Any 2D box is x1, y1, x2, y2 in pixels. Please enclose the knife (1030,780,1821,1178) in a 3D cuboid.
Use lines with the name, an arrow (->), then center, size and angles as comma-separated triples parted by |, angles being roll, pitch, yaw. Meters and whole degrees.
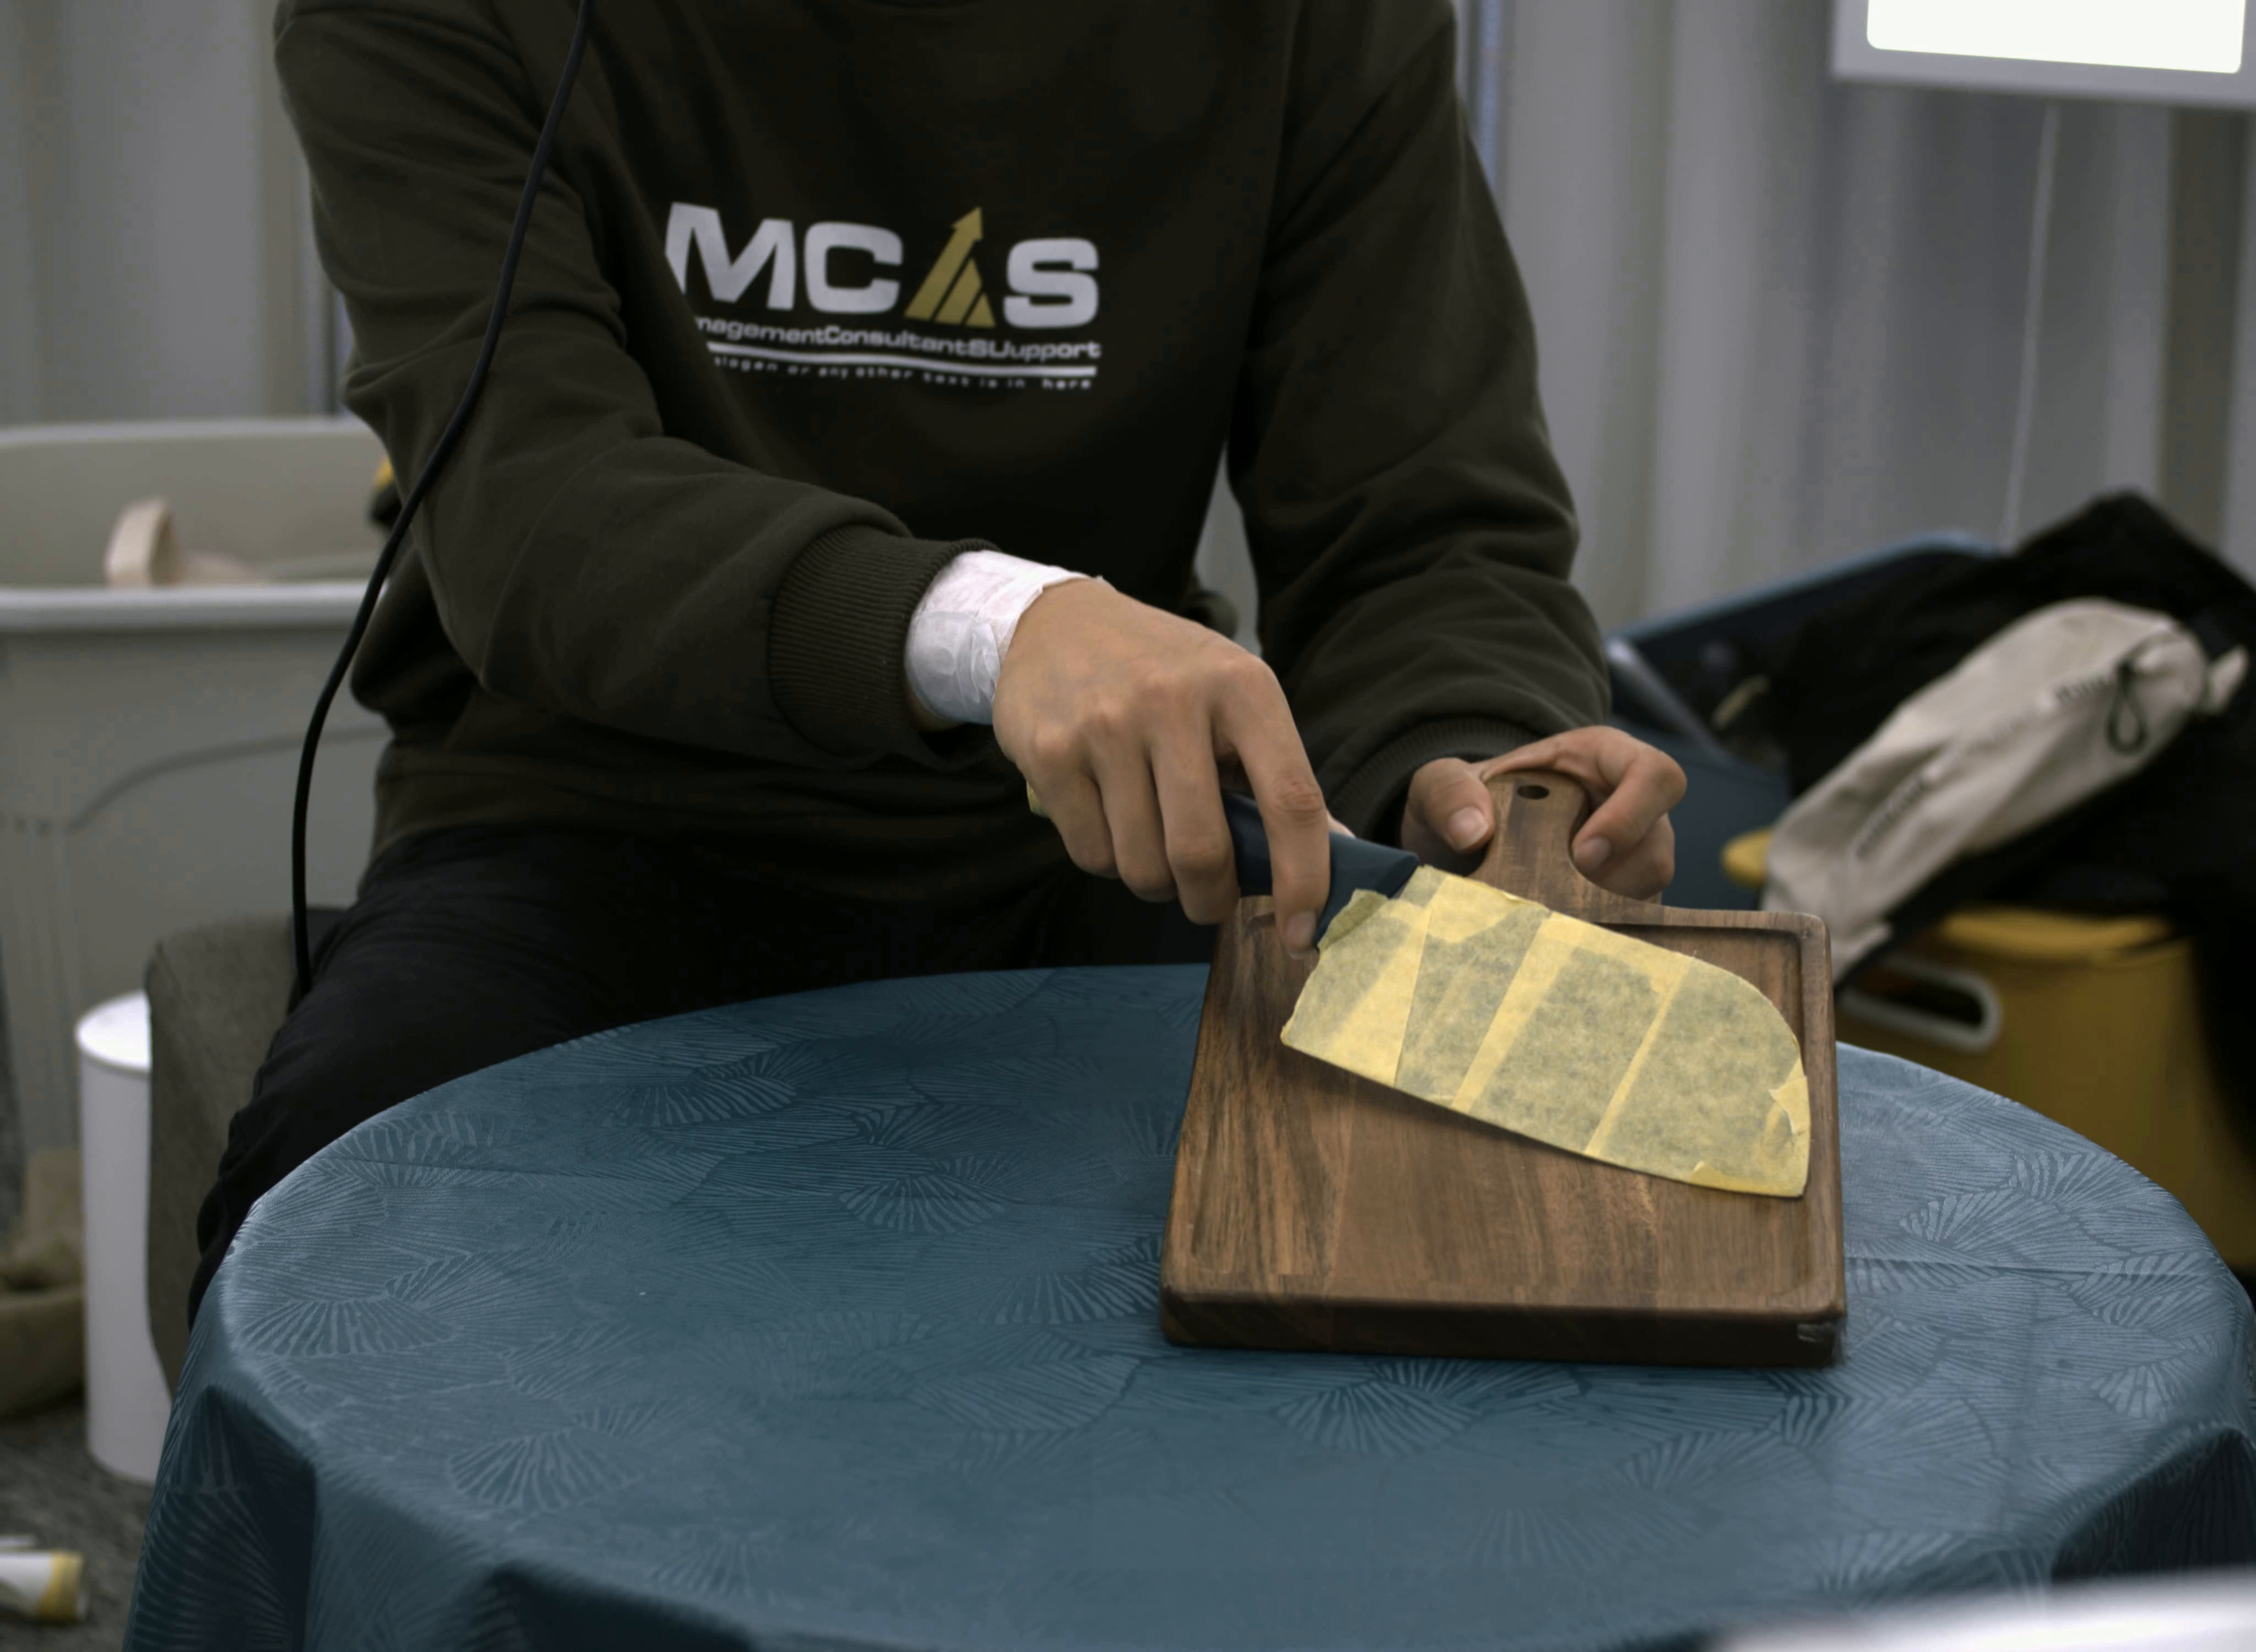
knife -> 0.083, 0.044, 1.606 | 0.286, 0.027, 0.081 | 21, 65, 28

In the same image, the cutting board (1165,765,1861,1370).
cutting board -> 0.121, 0.066, 1.636 | 0.200, 0.023, 0.350 | 2, 27, 4
